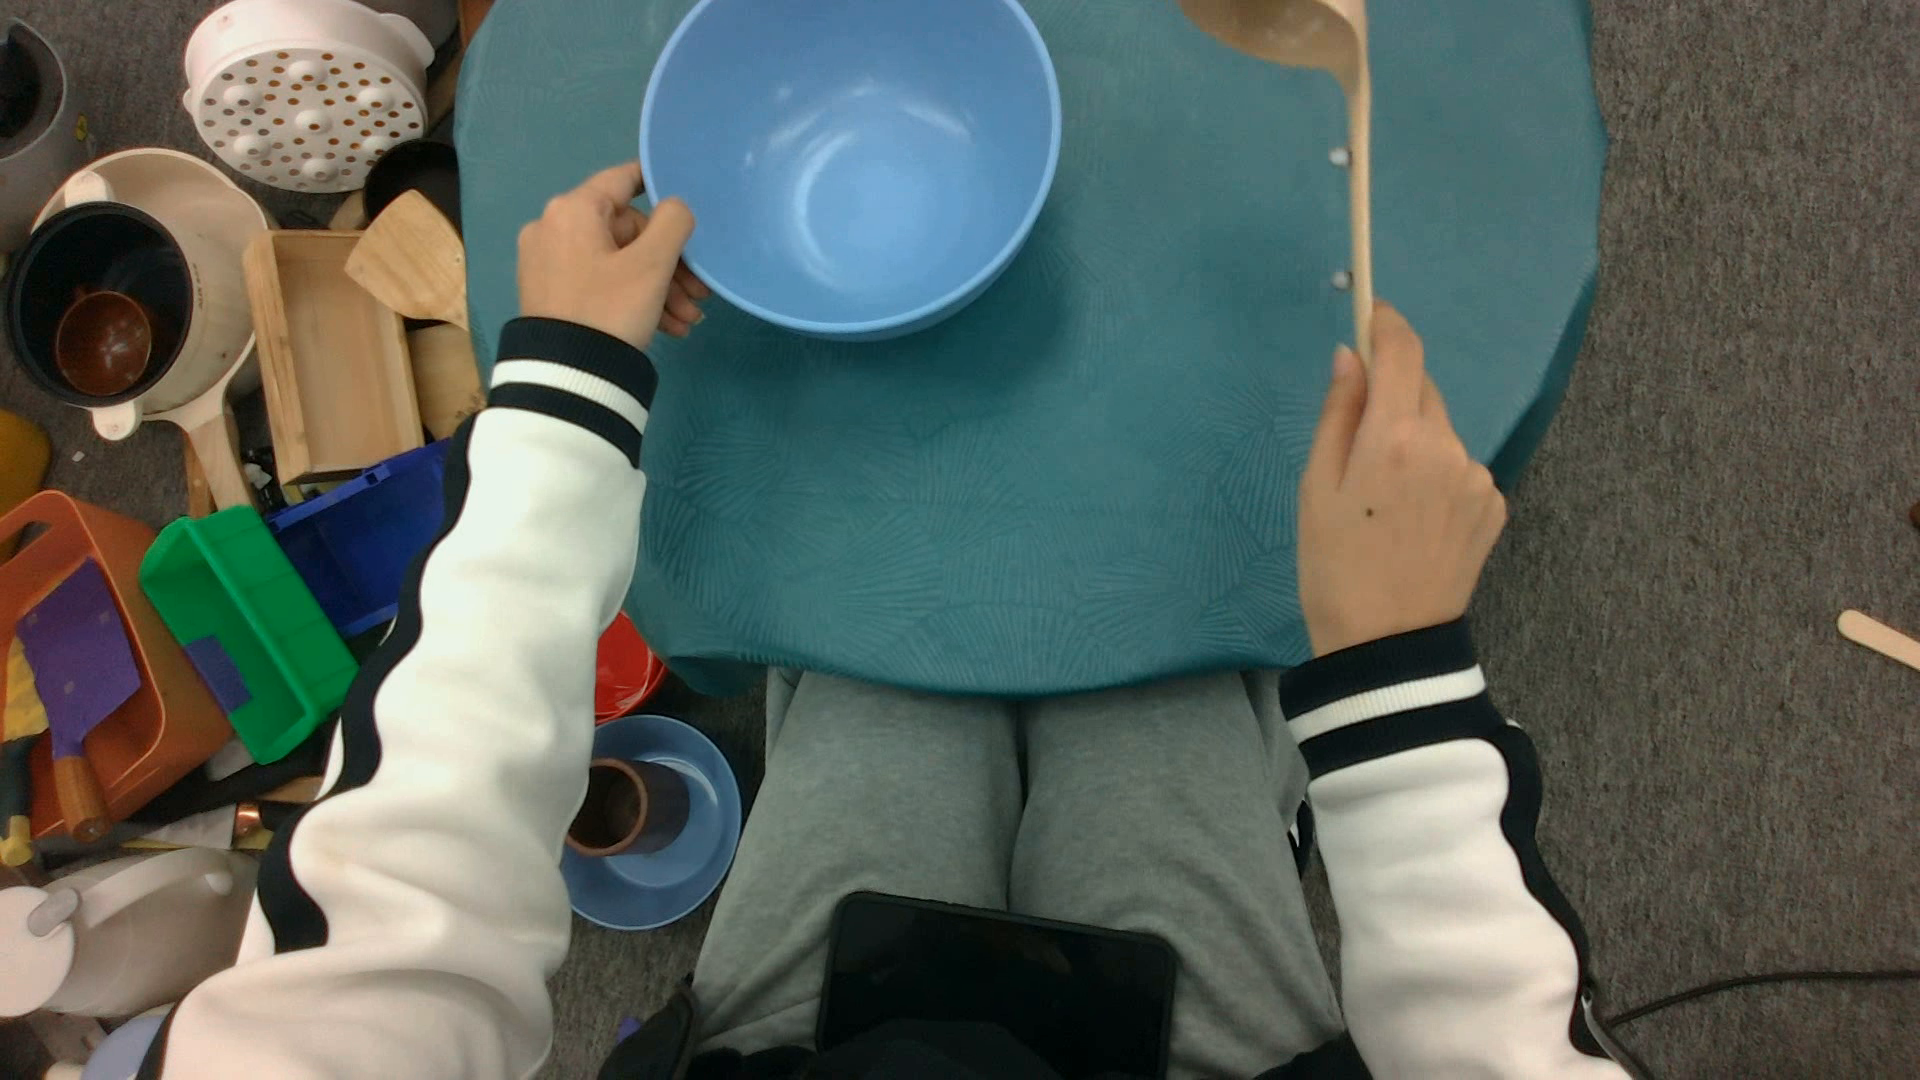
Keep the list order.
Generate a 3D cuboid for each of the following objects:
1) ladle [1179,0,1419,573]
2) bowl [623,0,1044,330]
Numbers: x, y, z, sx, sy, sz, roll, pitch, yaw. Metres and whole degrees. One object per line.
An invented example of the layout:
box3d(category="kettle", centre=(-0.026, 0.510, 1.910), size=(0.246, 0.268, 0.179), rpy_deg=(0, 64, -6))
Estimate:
box3d(category="ladle", centre=(0.138, -0.109, 0.570), size=(0.073, 0.072, 0.254), rpy_deg=(-5, 85, 5))
box3d(category="bowl", centre=(-0.056, -0.185, 0.679), size=(0.196, 0.095, 0.197), rpy_deg=(-1, 77, 5))
